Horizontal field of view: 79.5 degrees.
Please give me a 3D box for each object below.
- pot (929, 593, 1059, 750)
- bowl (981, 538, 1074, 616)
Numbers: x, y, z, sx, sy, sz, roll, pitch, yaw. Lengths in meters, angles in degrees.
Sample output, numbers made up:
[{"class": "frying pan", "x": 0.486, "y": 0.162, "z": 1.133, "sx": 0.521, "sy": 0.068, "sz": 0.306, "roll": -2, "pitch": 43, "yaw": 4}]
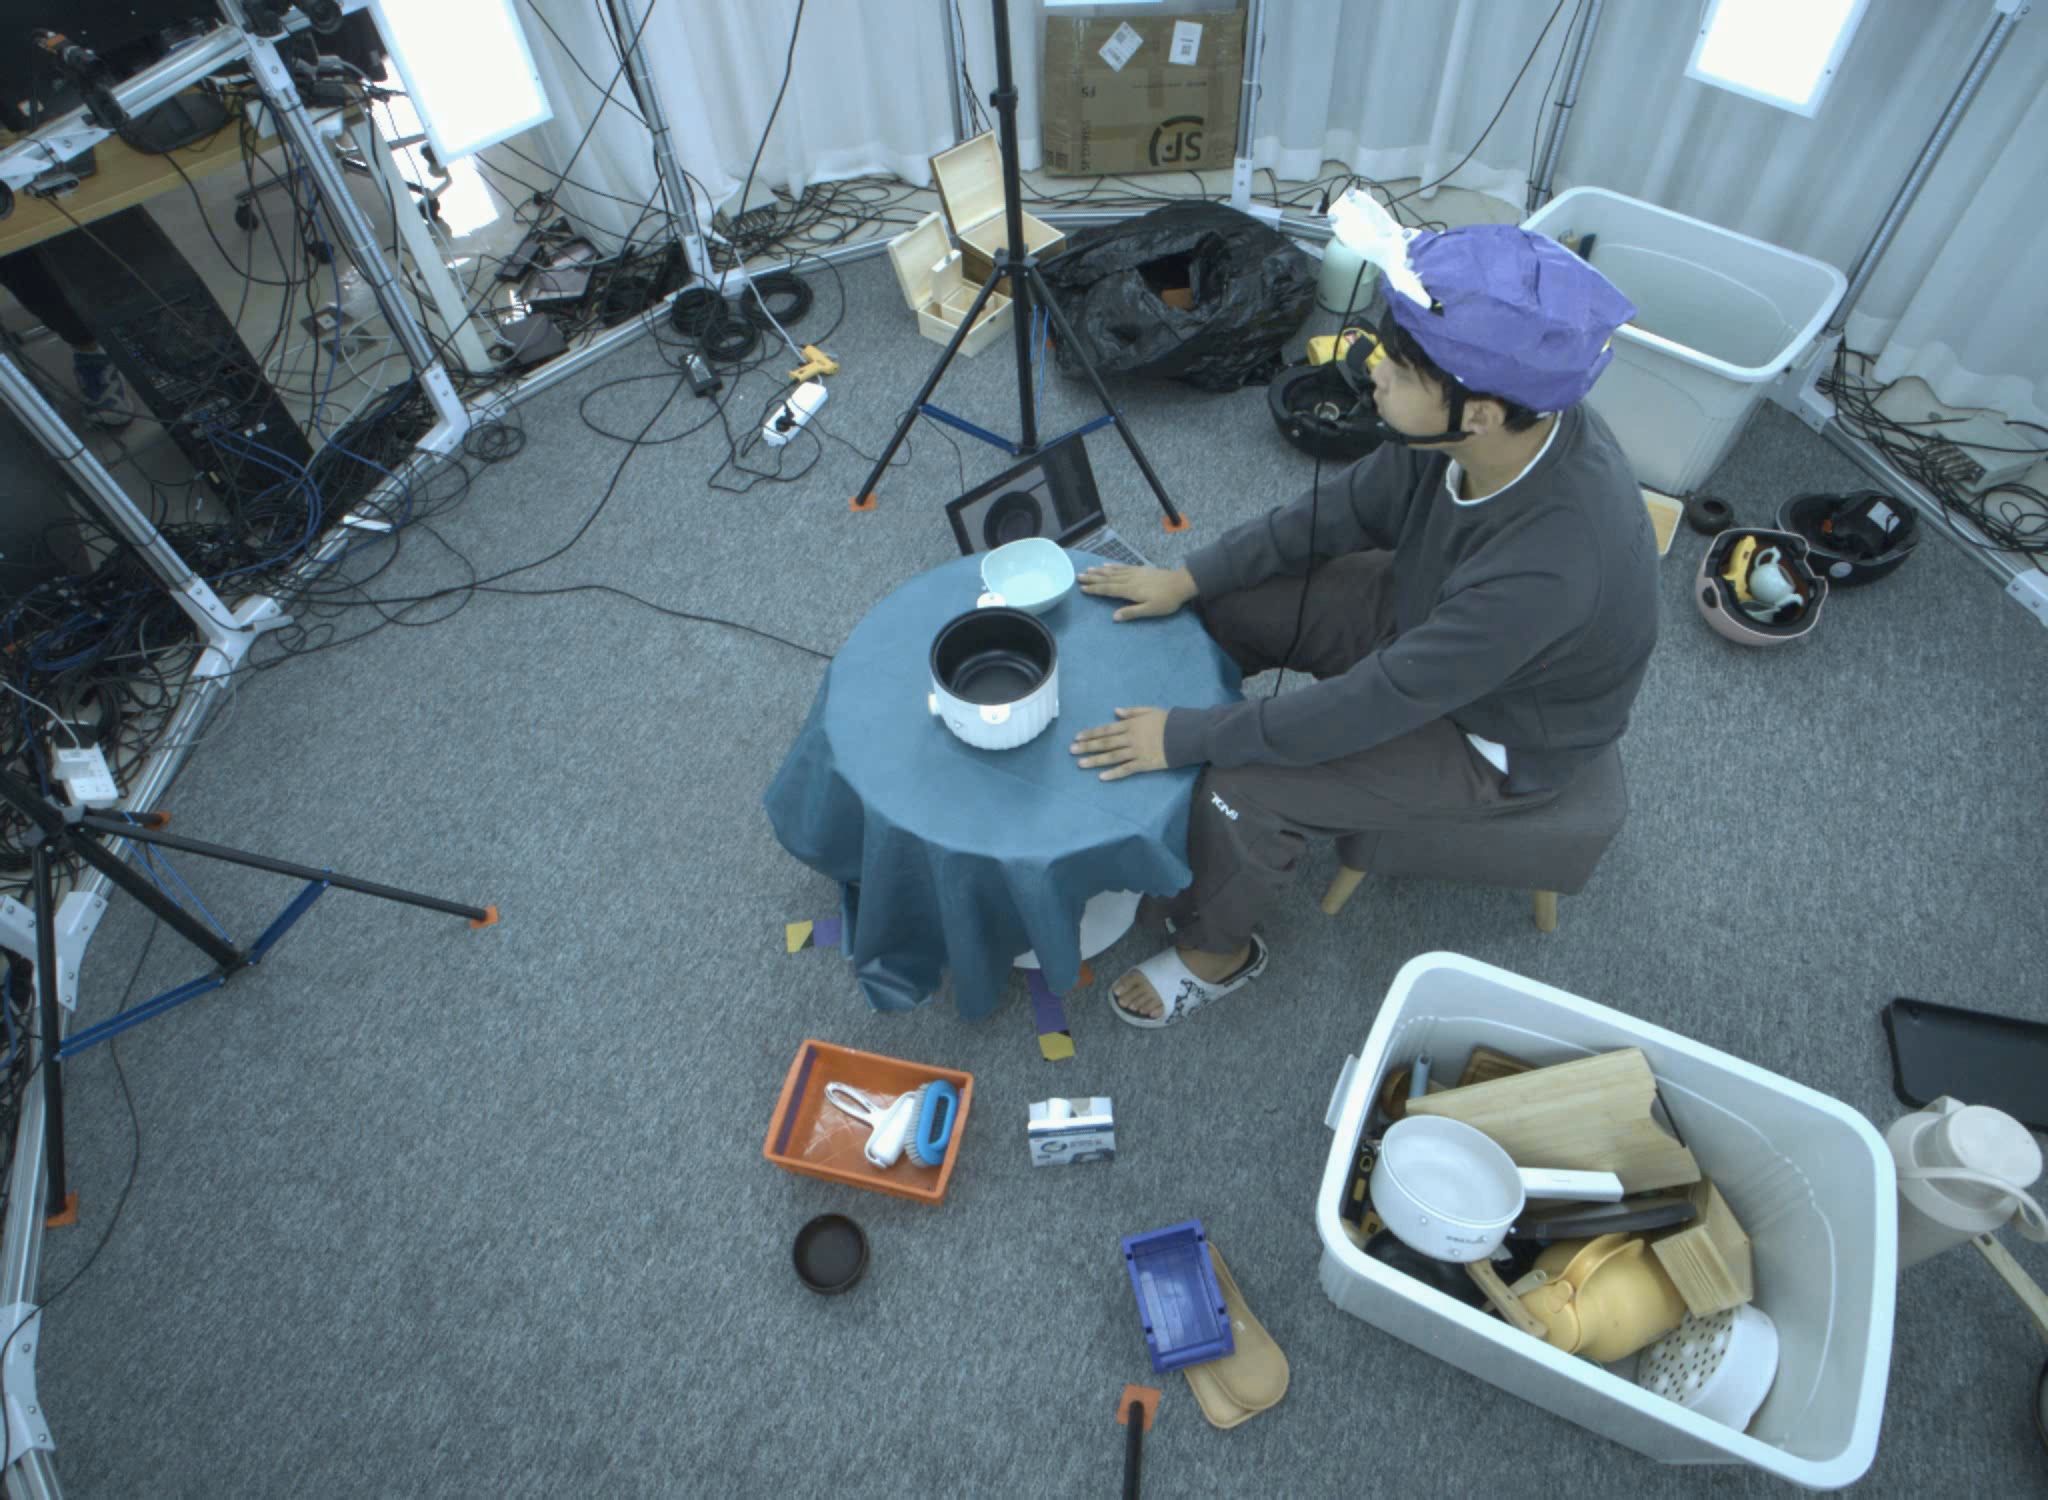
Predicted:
[{"class": "pot", "x": -0.044, "y": -0.095, "z": 1.769, "sx": 0.191, "sy": 0.144, "sz": 0.237, "roll": -3, "pitch": 53, "yaw": -4}, {"class": "bowl", "x": 0.007, "y": -0.263, "z": 1.939, "sx": 0.151, "sy": 0.059, "sz": 0.150, "roll": -1, "pitch": 55, "yaw": 3}]
